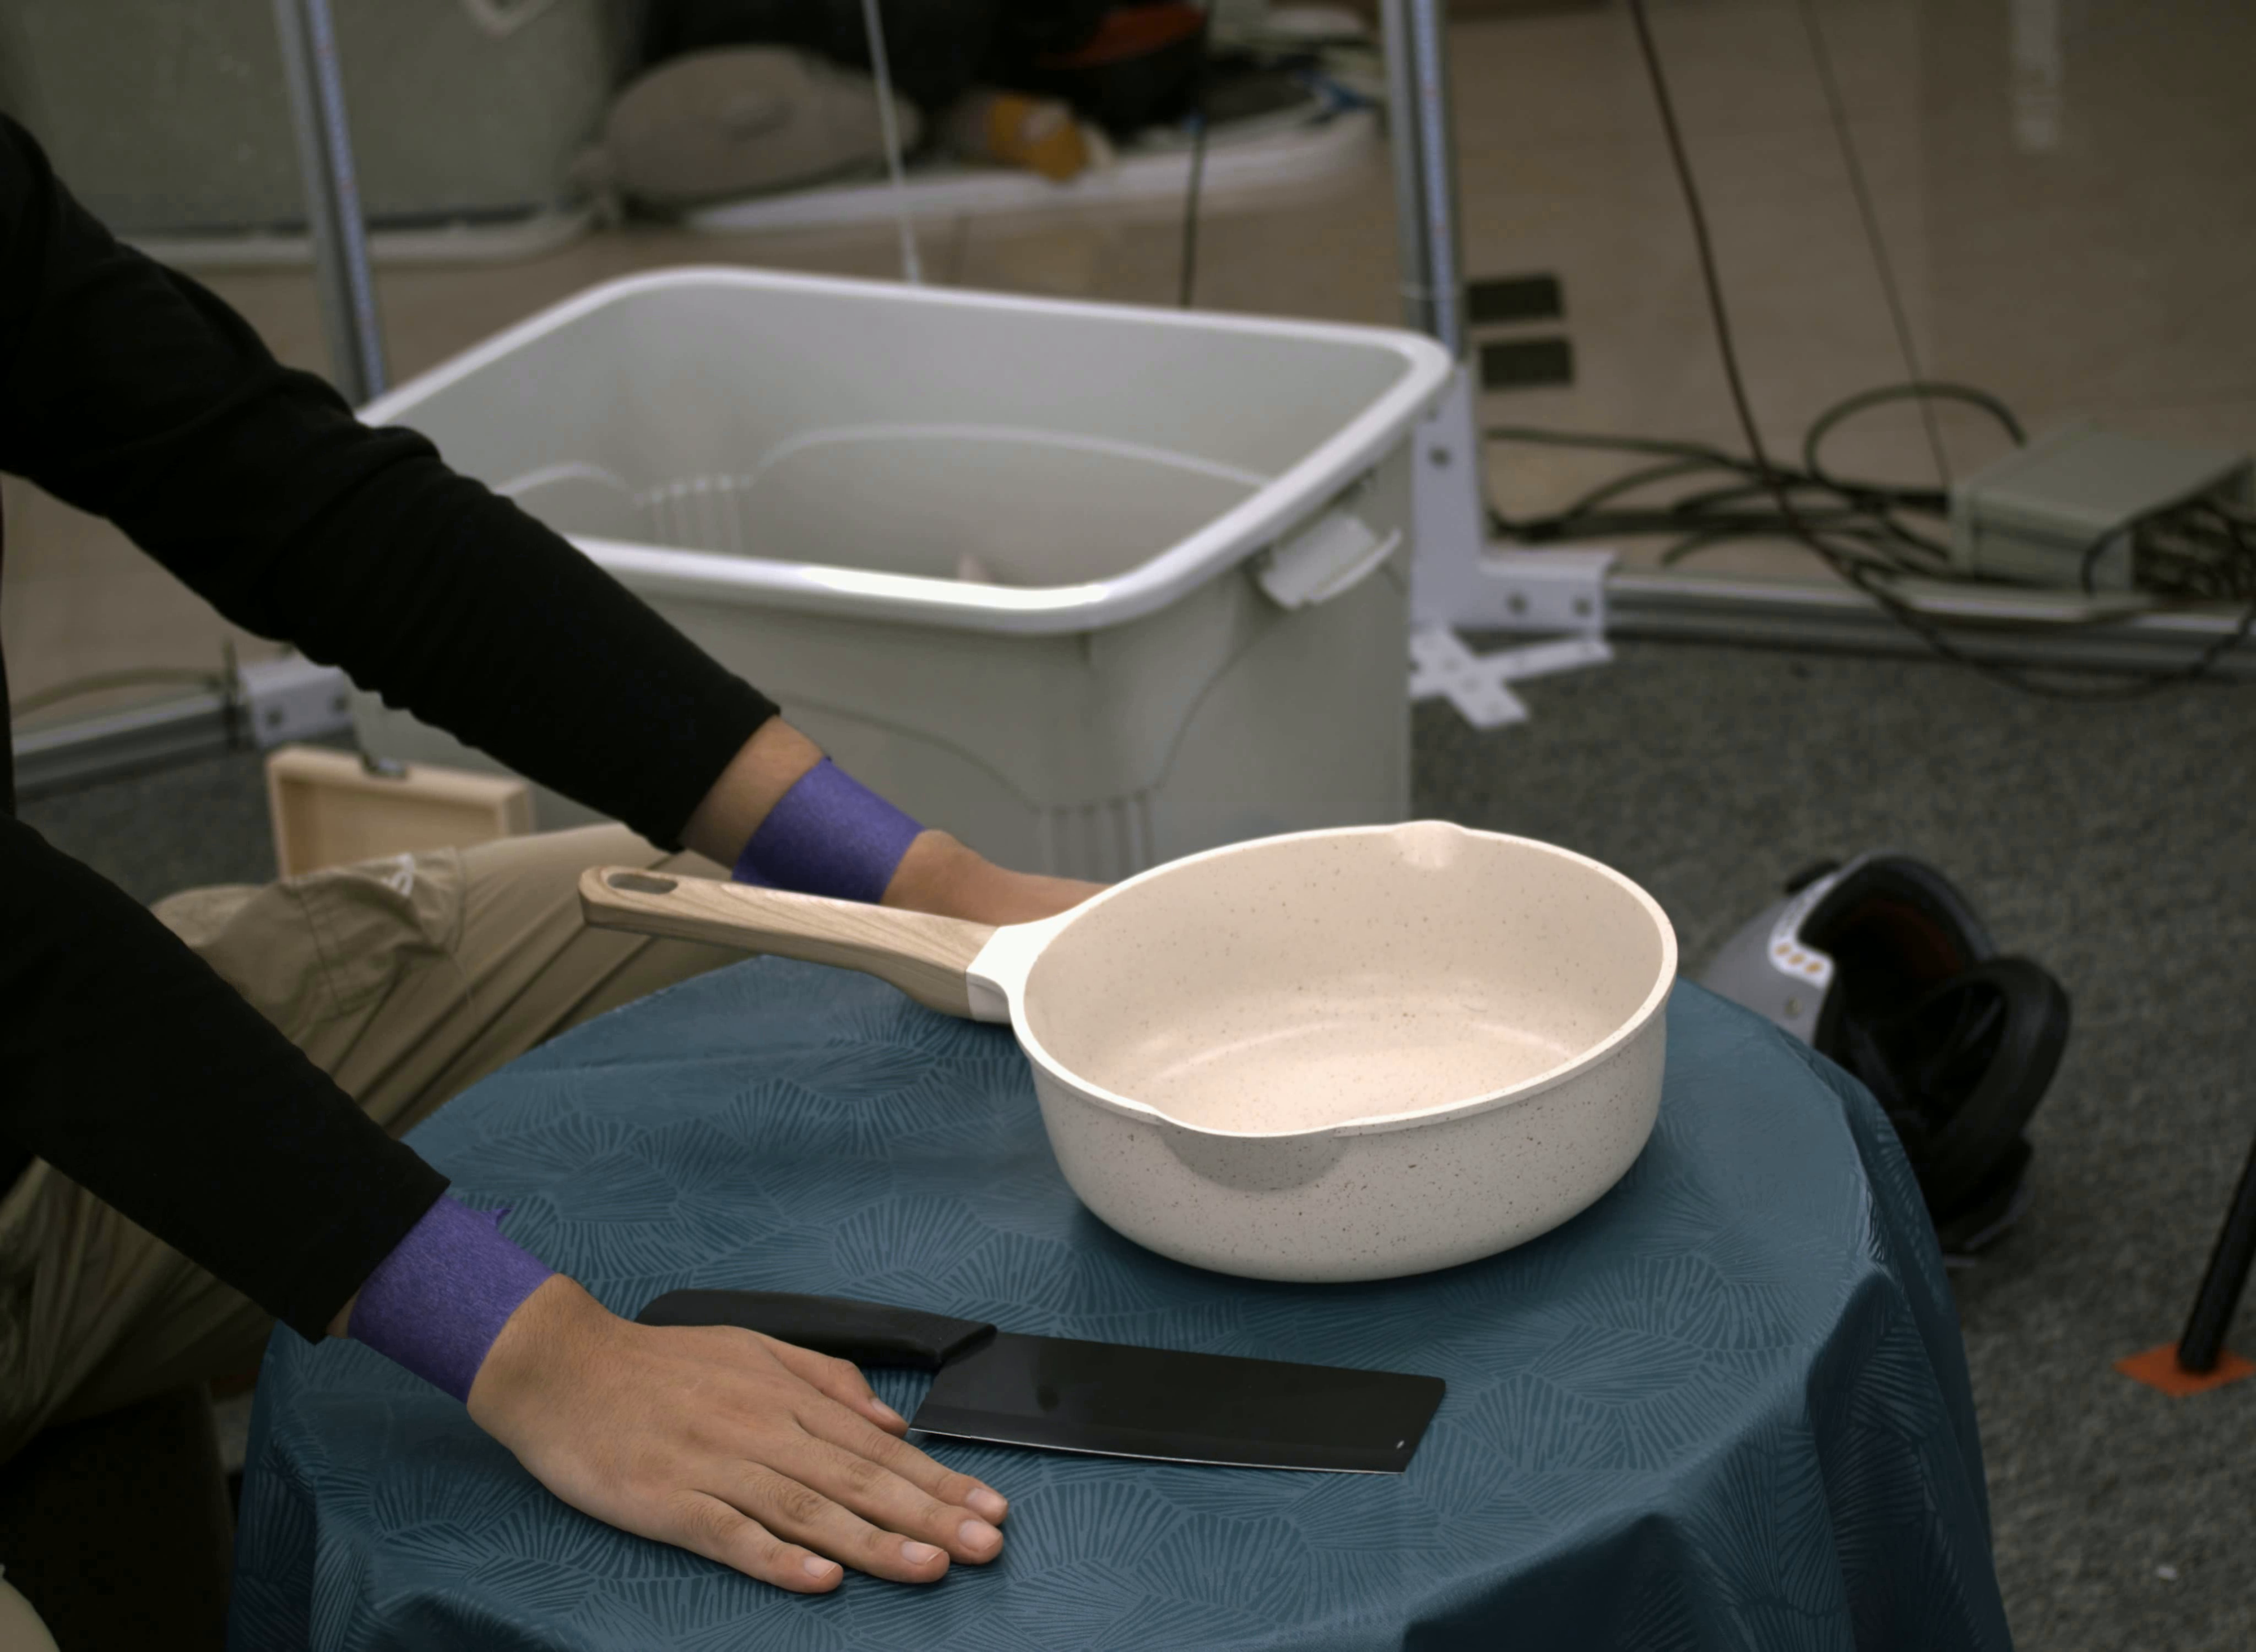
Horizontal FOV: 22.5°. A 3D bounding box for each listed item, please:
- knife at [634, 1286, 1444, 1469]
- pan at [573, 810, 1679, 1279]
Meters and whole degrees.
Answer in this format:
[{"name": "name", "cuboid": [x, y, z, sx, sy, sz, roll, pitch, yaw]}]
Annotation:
[{"name": "knife", "cuboid": [-0.037, 0.196, 2.020, 0.301, 0.021, 0.080, 7, 29, 22]}, {"name": "pan", "cuboid": [-0.003, 0.077, 2.166, 0.434, 0.103, 0.259, 2, 28, 18]}]
